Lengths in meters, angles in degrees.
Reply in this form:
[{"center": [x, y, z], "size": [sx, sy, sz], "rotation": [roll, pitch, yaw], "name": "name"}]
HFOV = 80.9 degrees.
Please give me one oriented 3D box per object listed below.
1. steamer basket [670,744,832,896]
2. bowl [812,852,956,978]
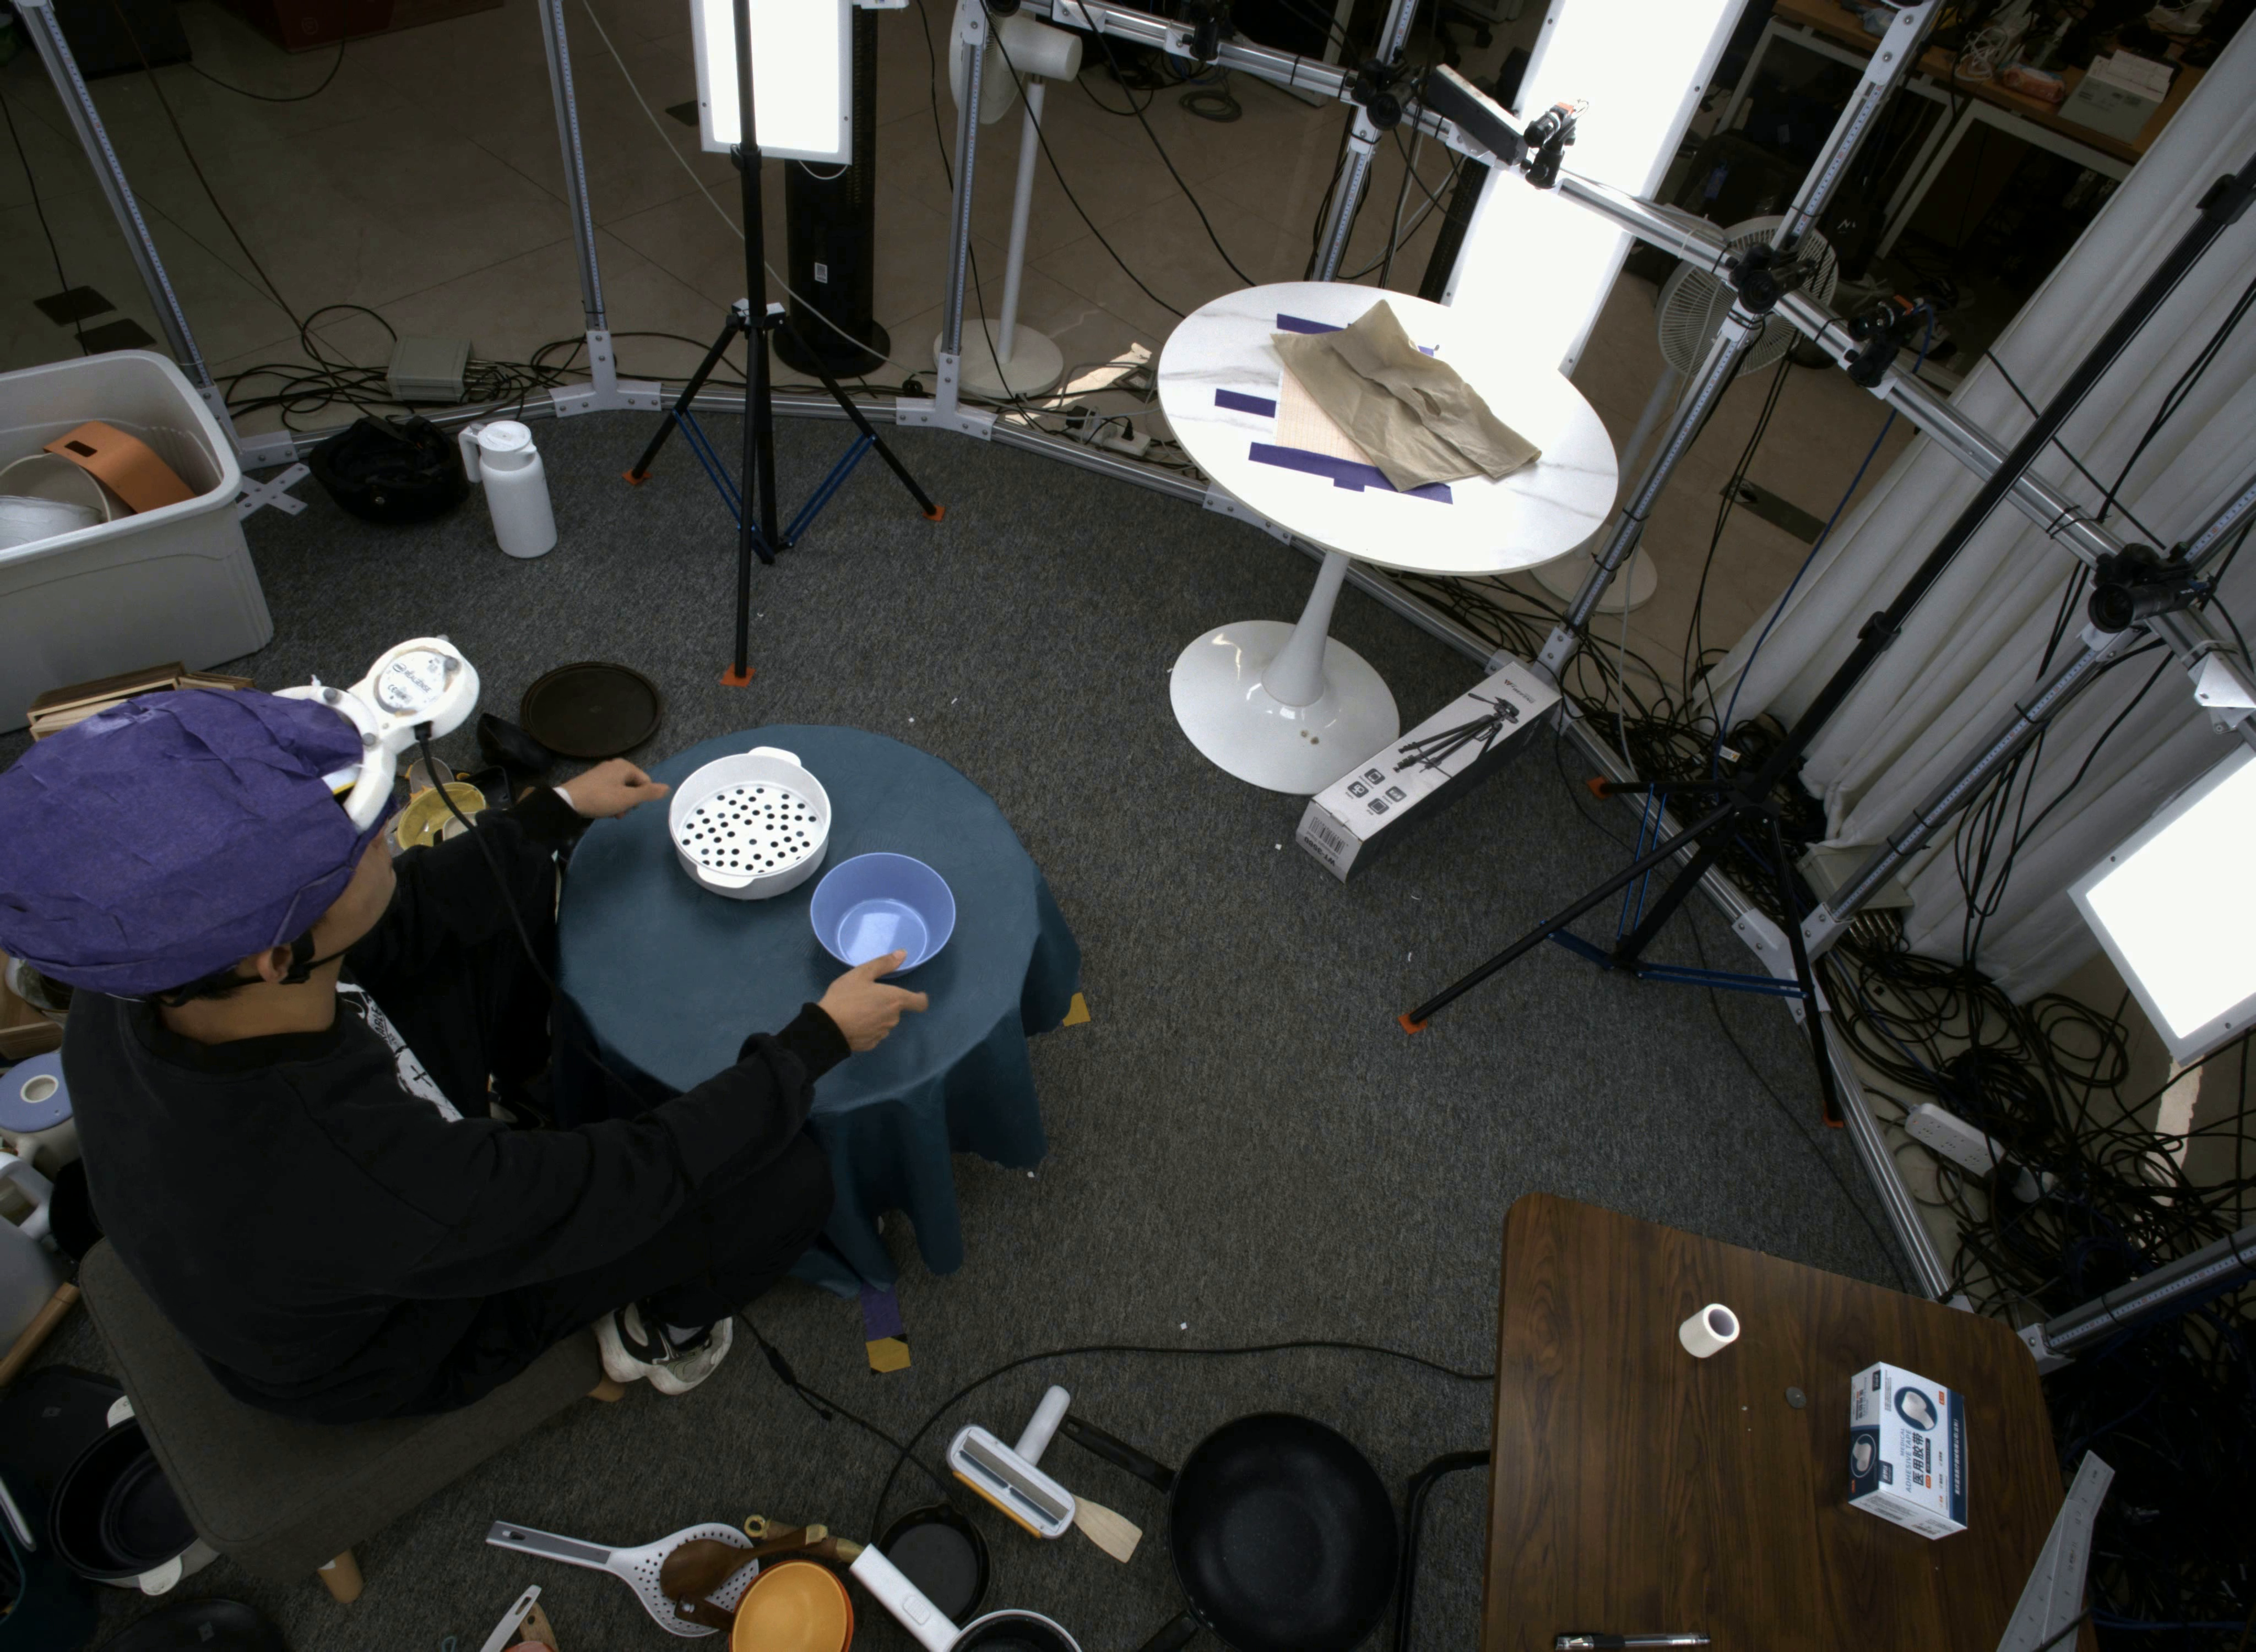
[{"center": [-0.485, -0.003, 1.671], "size": [0.201, 0.071, 0.227], "rotation": [13, 49, -4], "name": "steamer basket"}, {"center": [-0.304, 0.121, 1.624], "size": [0.175, 0.072, 0.173], "rotation": [7, 52, -7], "name": "bowl"}]
